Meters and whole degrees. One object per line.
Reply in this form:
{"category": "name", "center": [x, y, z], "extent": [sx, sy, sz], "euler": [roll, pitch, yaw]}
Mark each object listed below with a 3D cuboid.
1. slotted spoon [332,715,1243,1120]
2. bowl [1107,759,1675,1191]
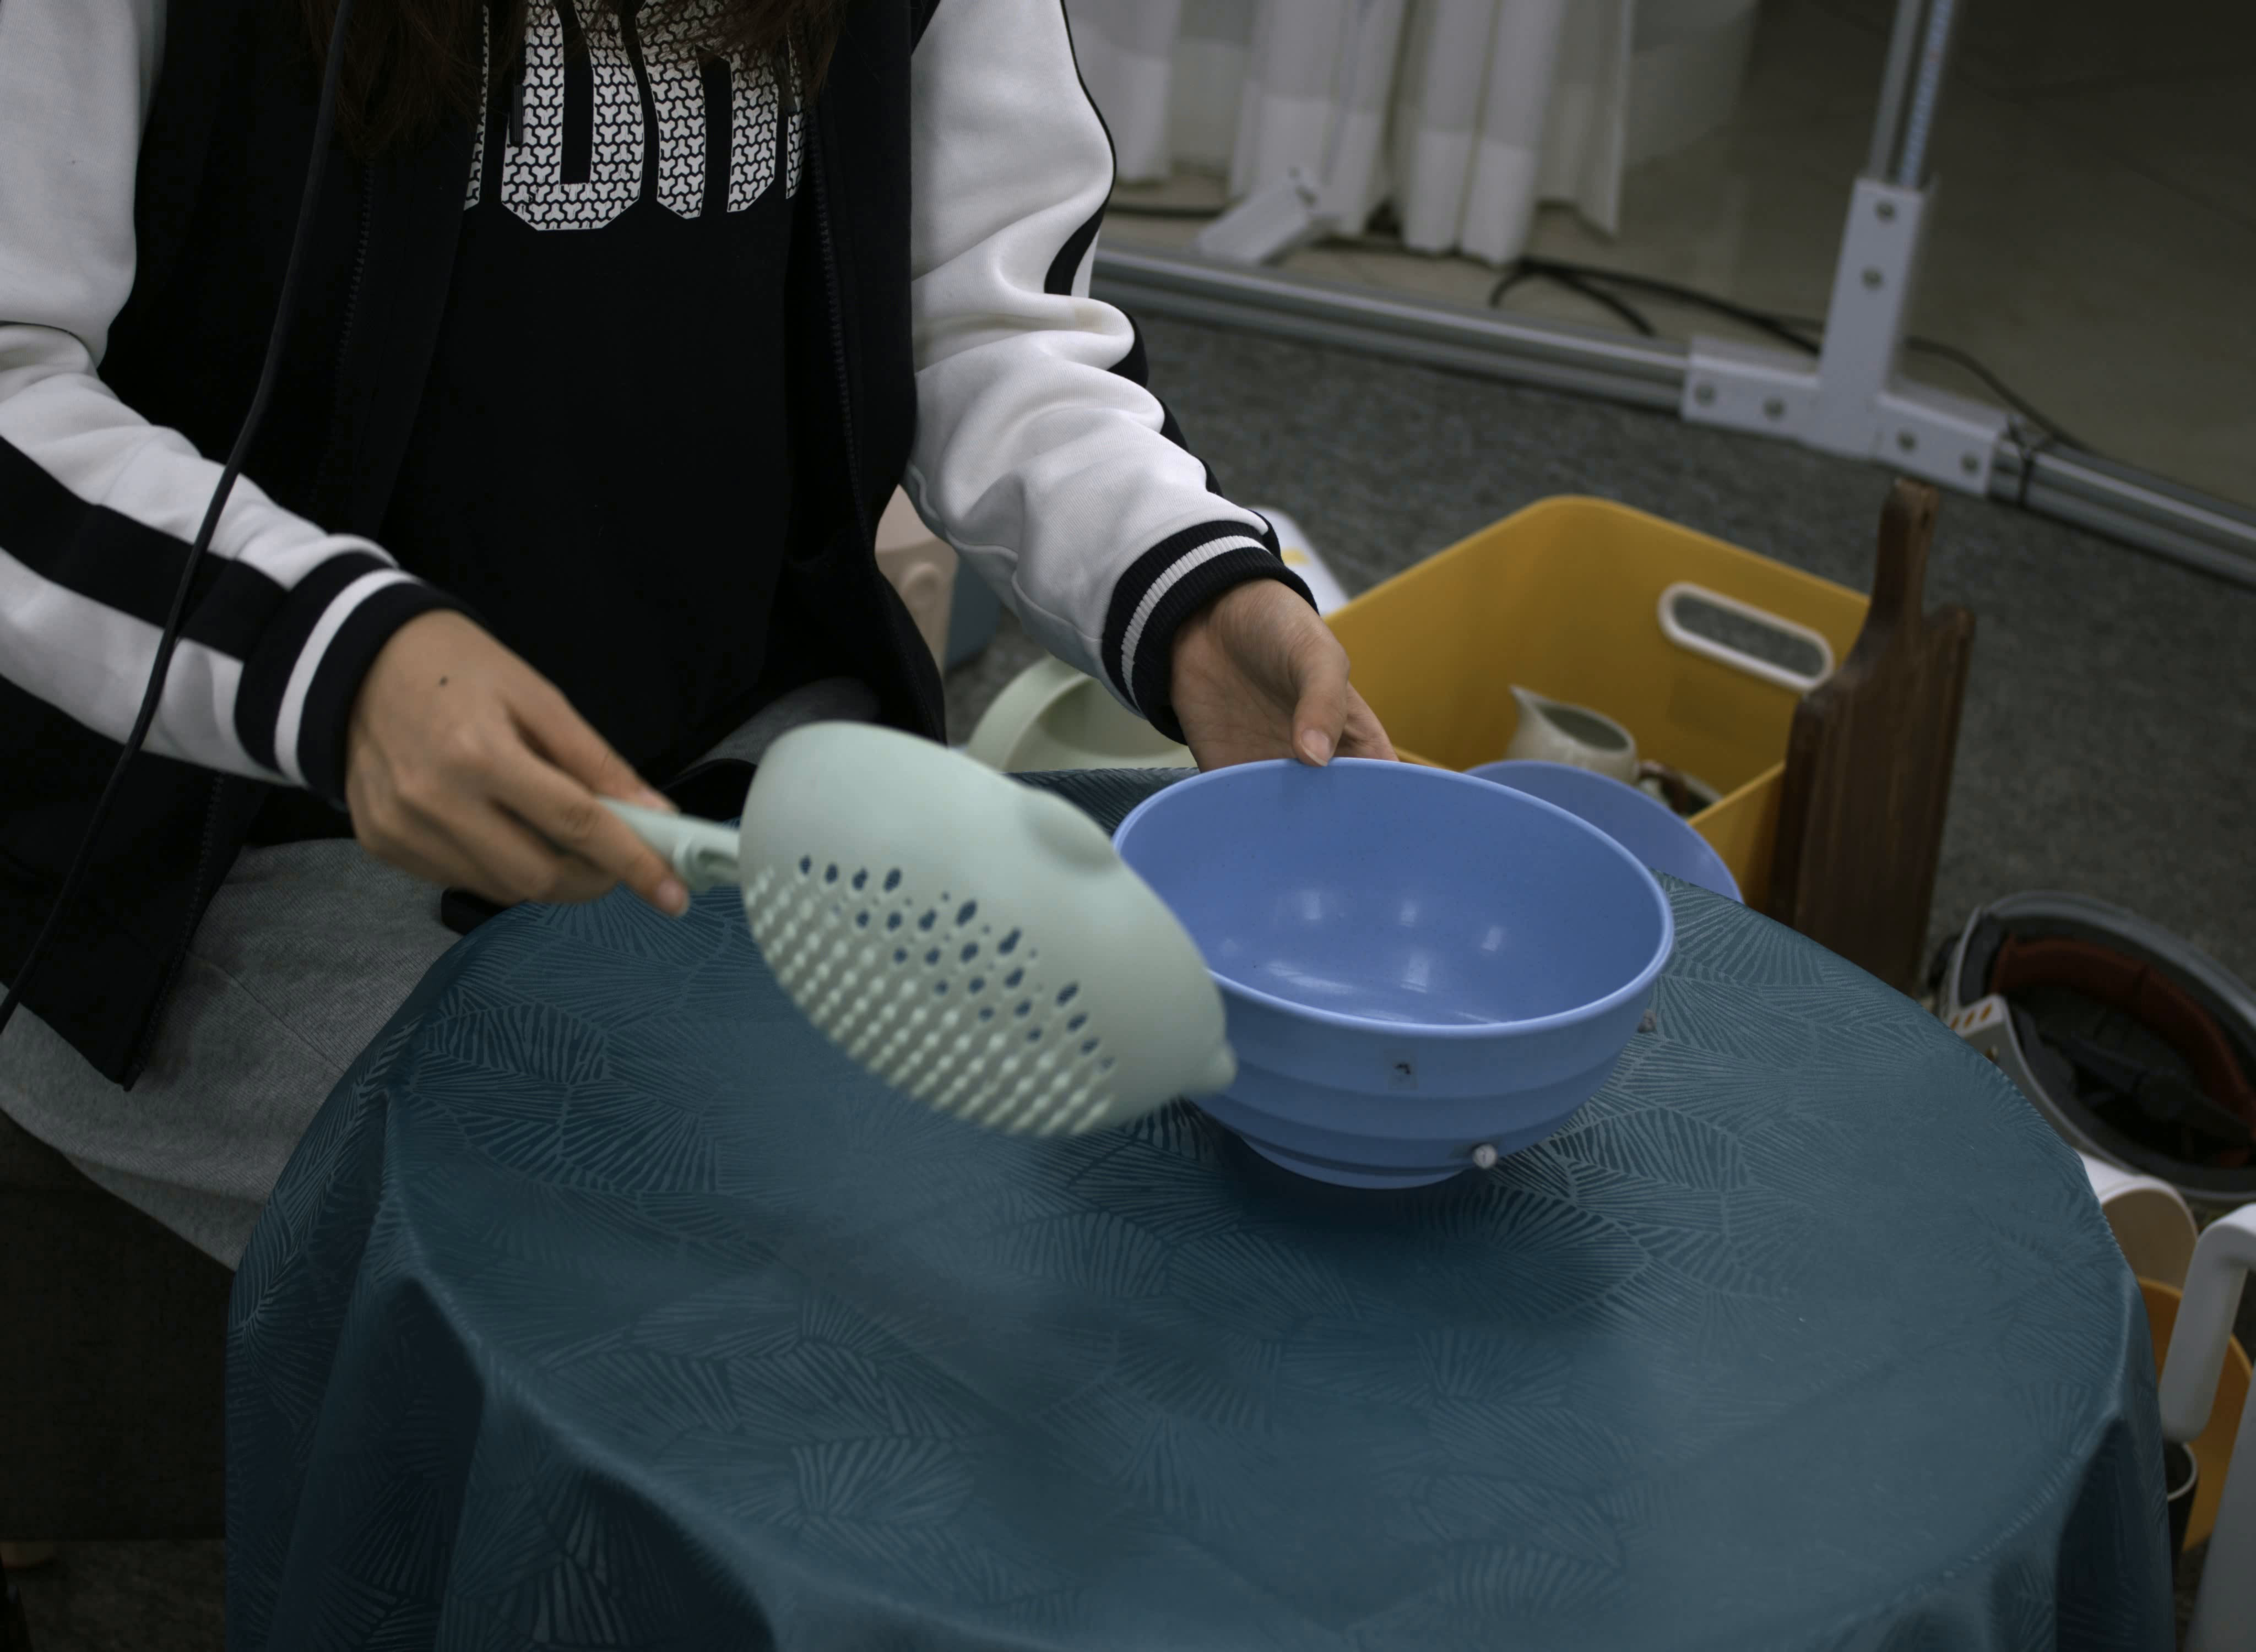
{"category": "slotted spoon", "center": [-0.123, 0.012, 1.702], "extent": [0.361, 0.168, 0.075], "euler": [22, 63, 42]}
{"category": "bowl", "center": [0.085, 0.062, 1.838], "extent": [0.196, 0.095, 0.197], "euler": [5, 27, -3]}
